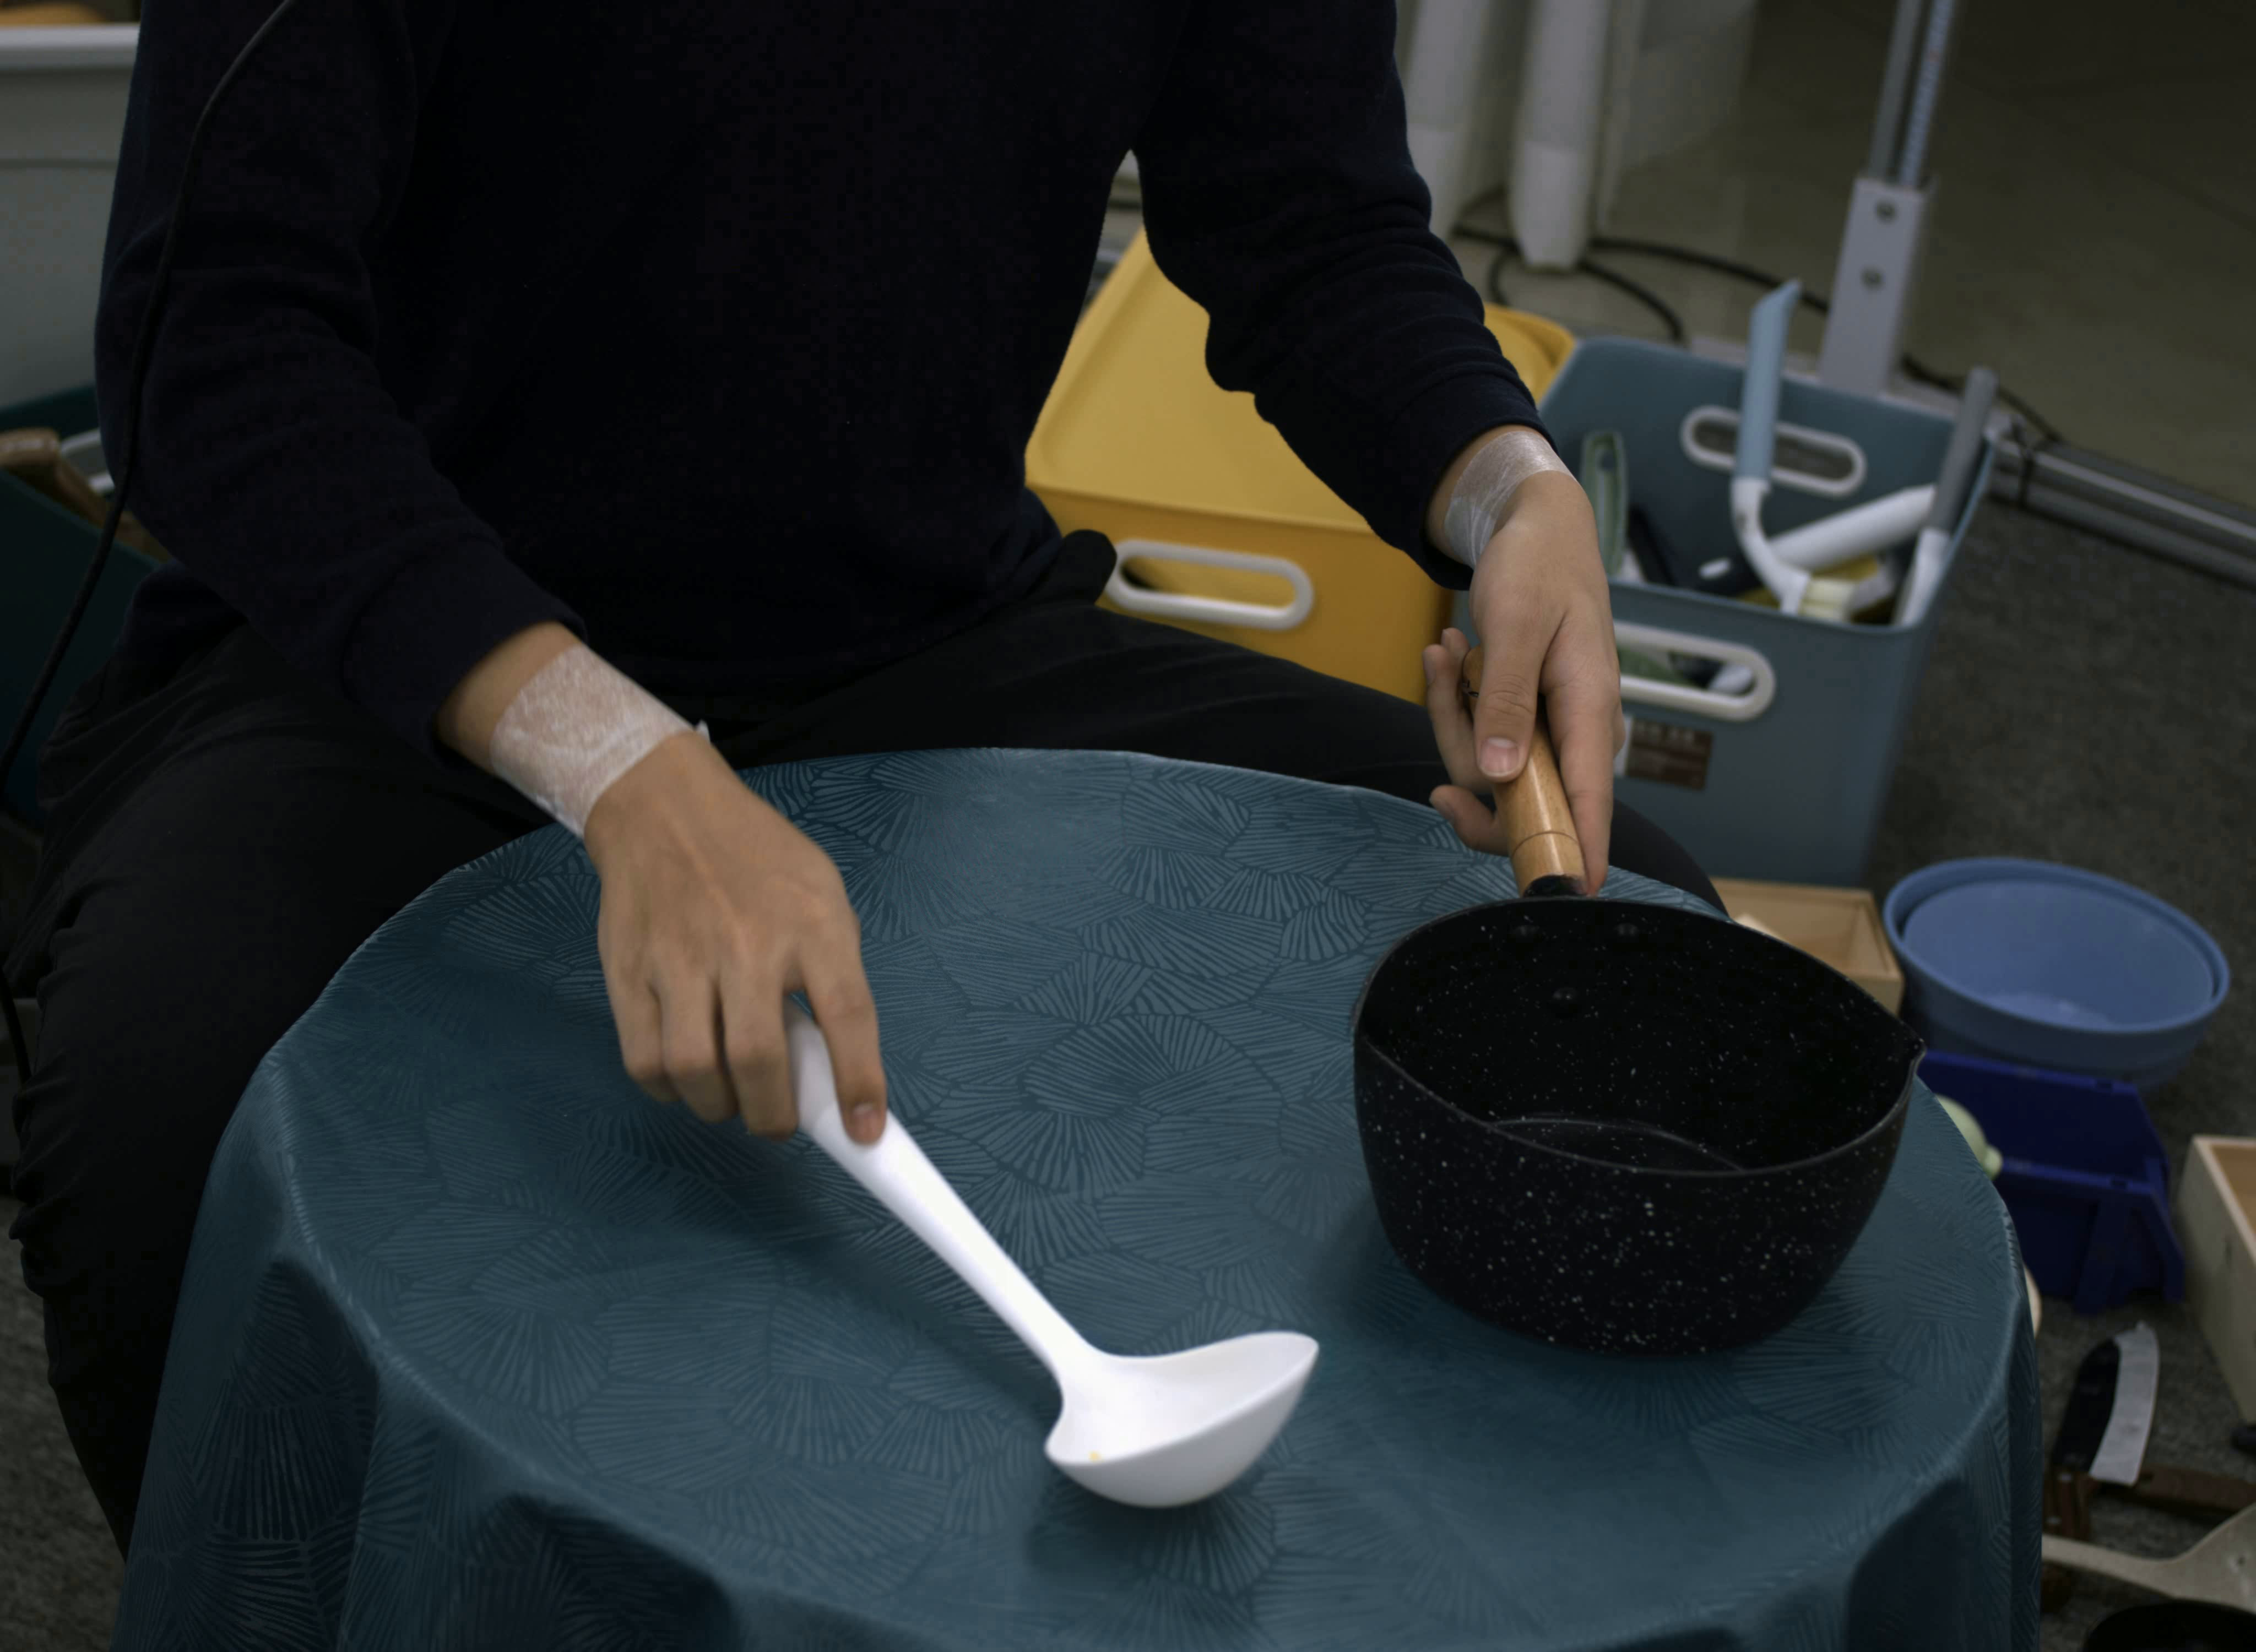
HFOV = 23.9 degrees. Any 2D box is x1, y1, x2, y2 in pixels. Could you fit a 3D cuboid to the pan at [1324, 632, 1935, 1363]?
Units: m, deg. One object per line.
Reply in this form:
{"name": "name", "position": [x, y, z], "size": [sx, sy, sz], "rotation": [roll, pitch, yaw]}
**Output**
{"name": "pan", "position": [0.153, 0.056, 1.850], "size": [0.206, 0.108, 0.345], "rotation": [0, 29, -10]}

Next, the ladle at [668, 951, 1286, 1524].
{"name": "ladle", "position": [-0.058, 0.121, 1.690], "size": [0.090, 0.069, 0.295], "rotation": [-31, 50, -20]}
